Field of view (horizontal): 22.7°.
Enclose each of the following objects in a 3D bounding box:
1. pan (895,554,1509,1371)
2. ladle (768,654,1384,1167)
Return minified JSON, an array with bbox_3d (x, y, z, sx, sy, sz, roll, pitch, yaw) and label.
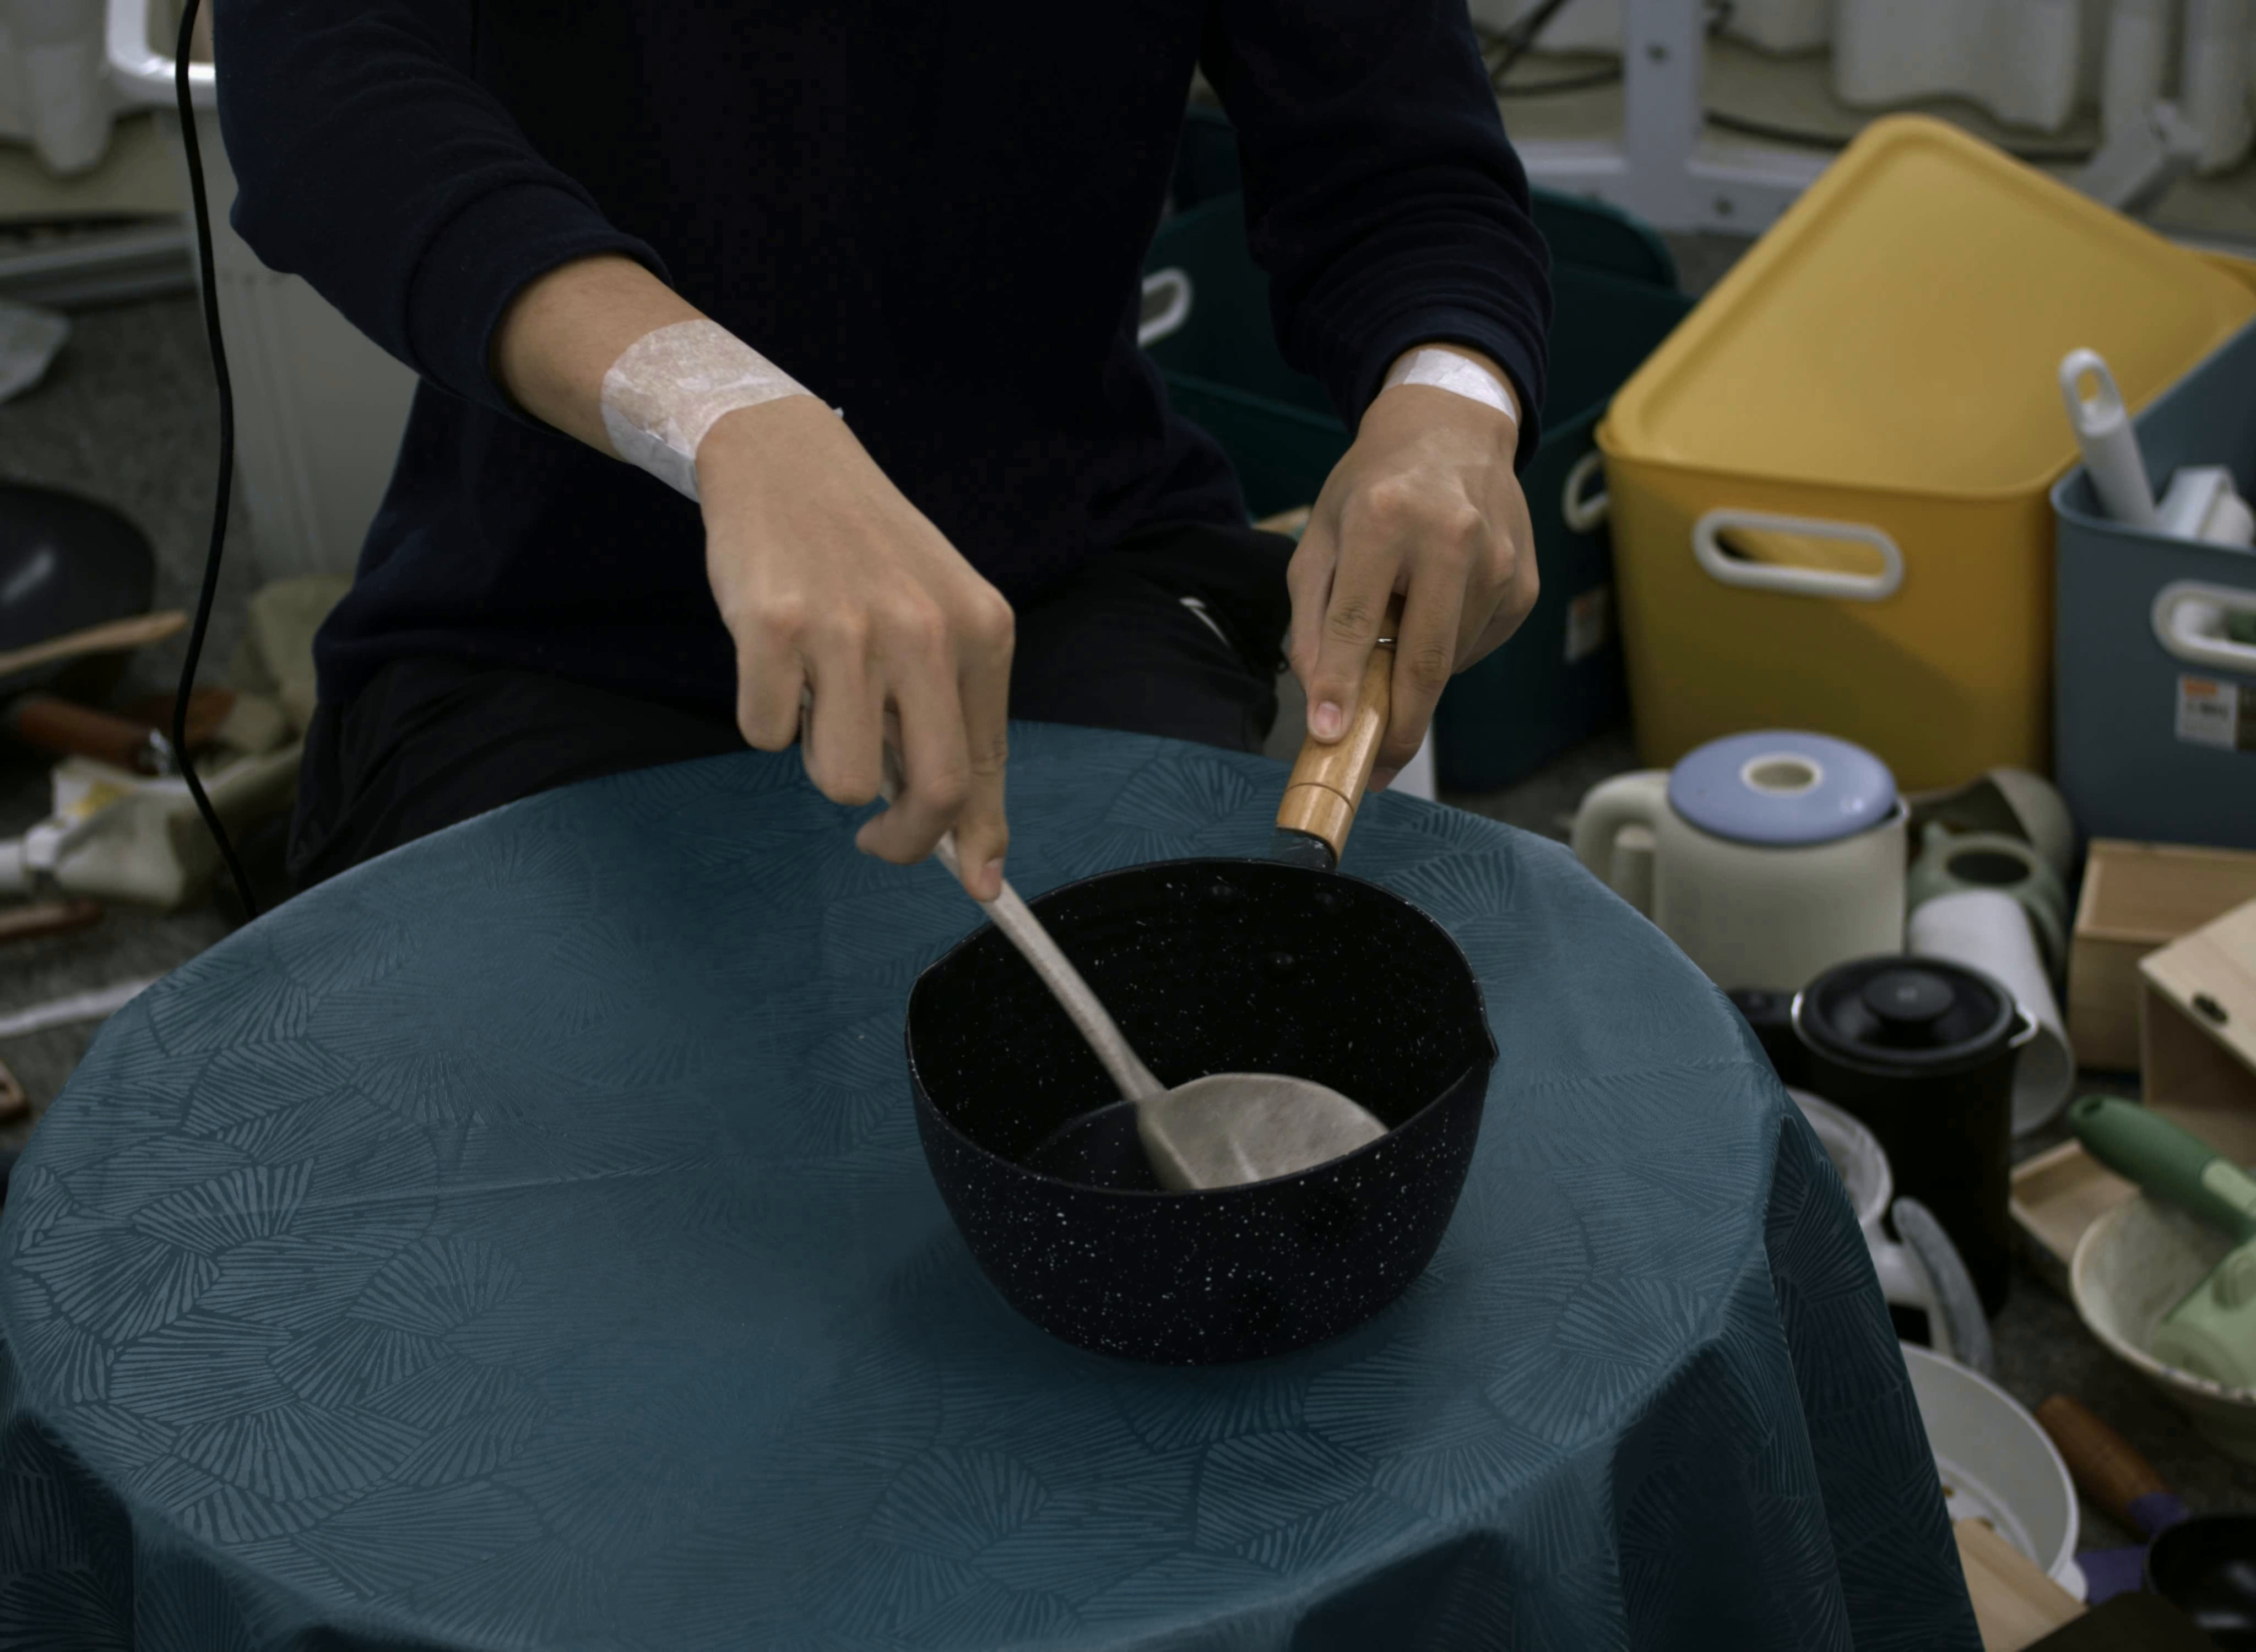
[{"bbox_3d":[0.046,0.042,1.865,0.206,0.107,0.349,4,35,17],"label":"pan"},{"bbox_3d":[-0.008,0.031,1.754,0.068,0.272,0.091,-27,31,17],"label":"ladle"}]
